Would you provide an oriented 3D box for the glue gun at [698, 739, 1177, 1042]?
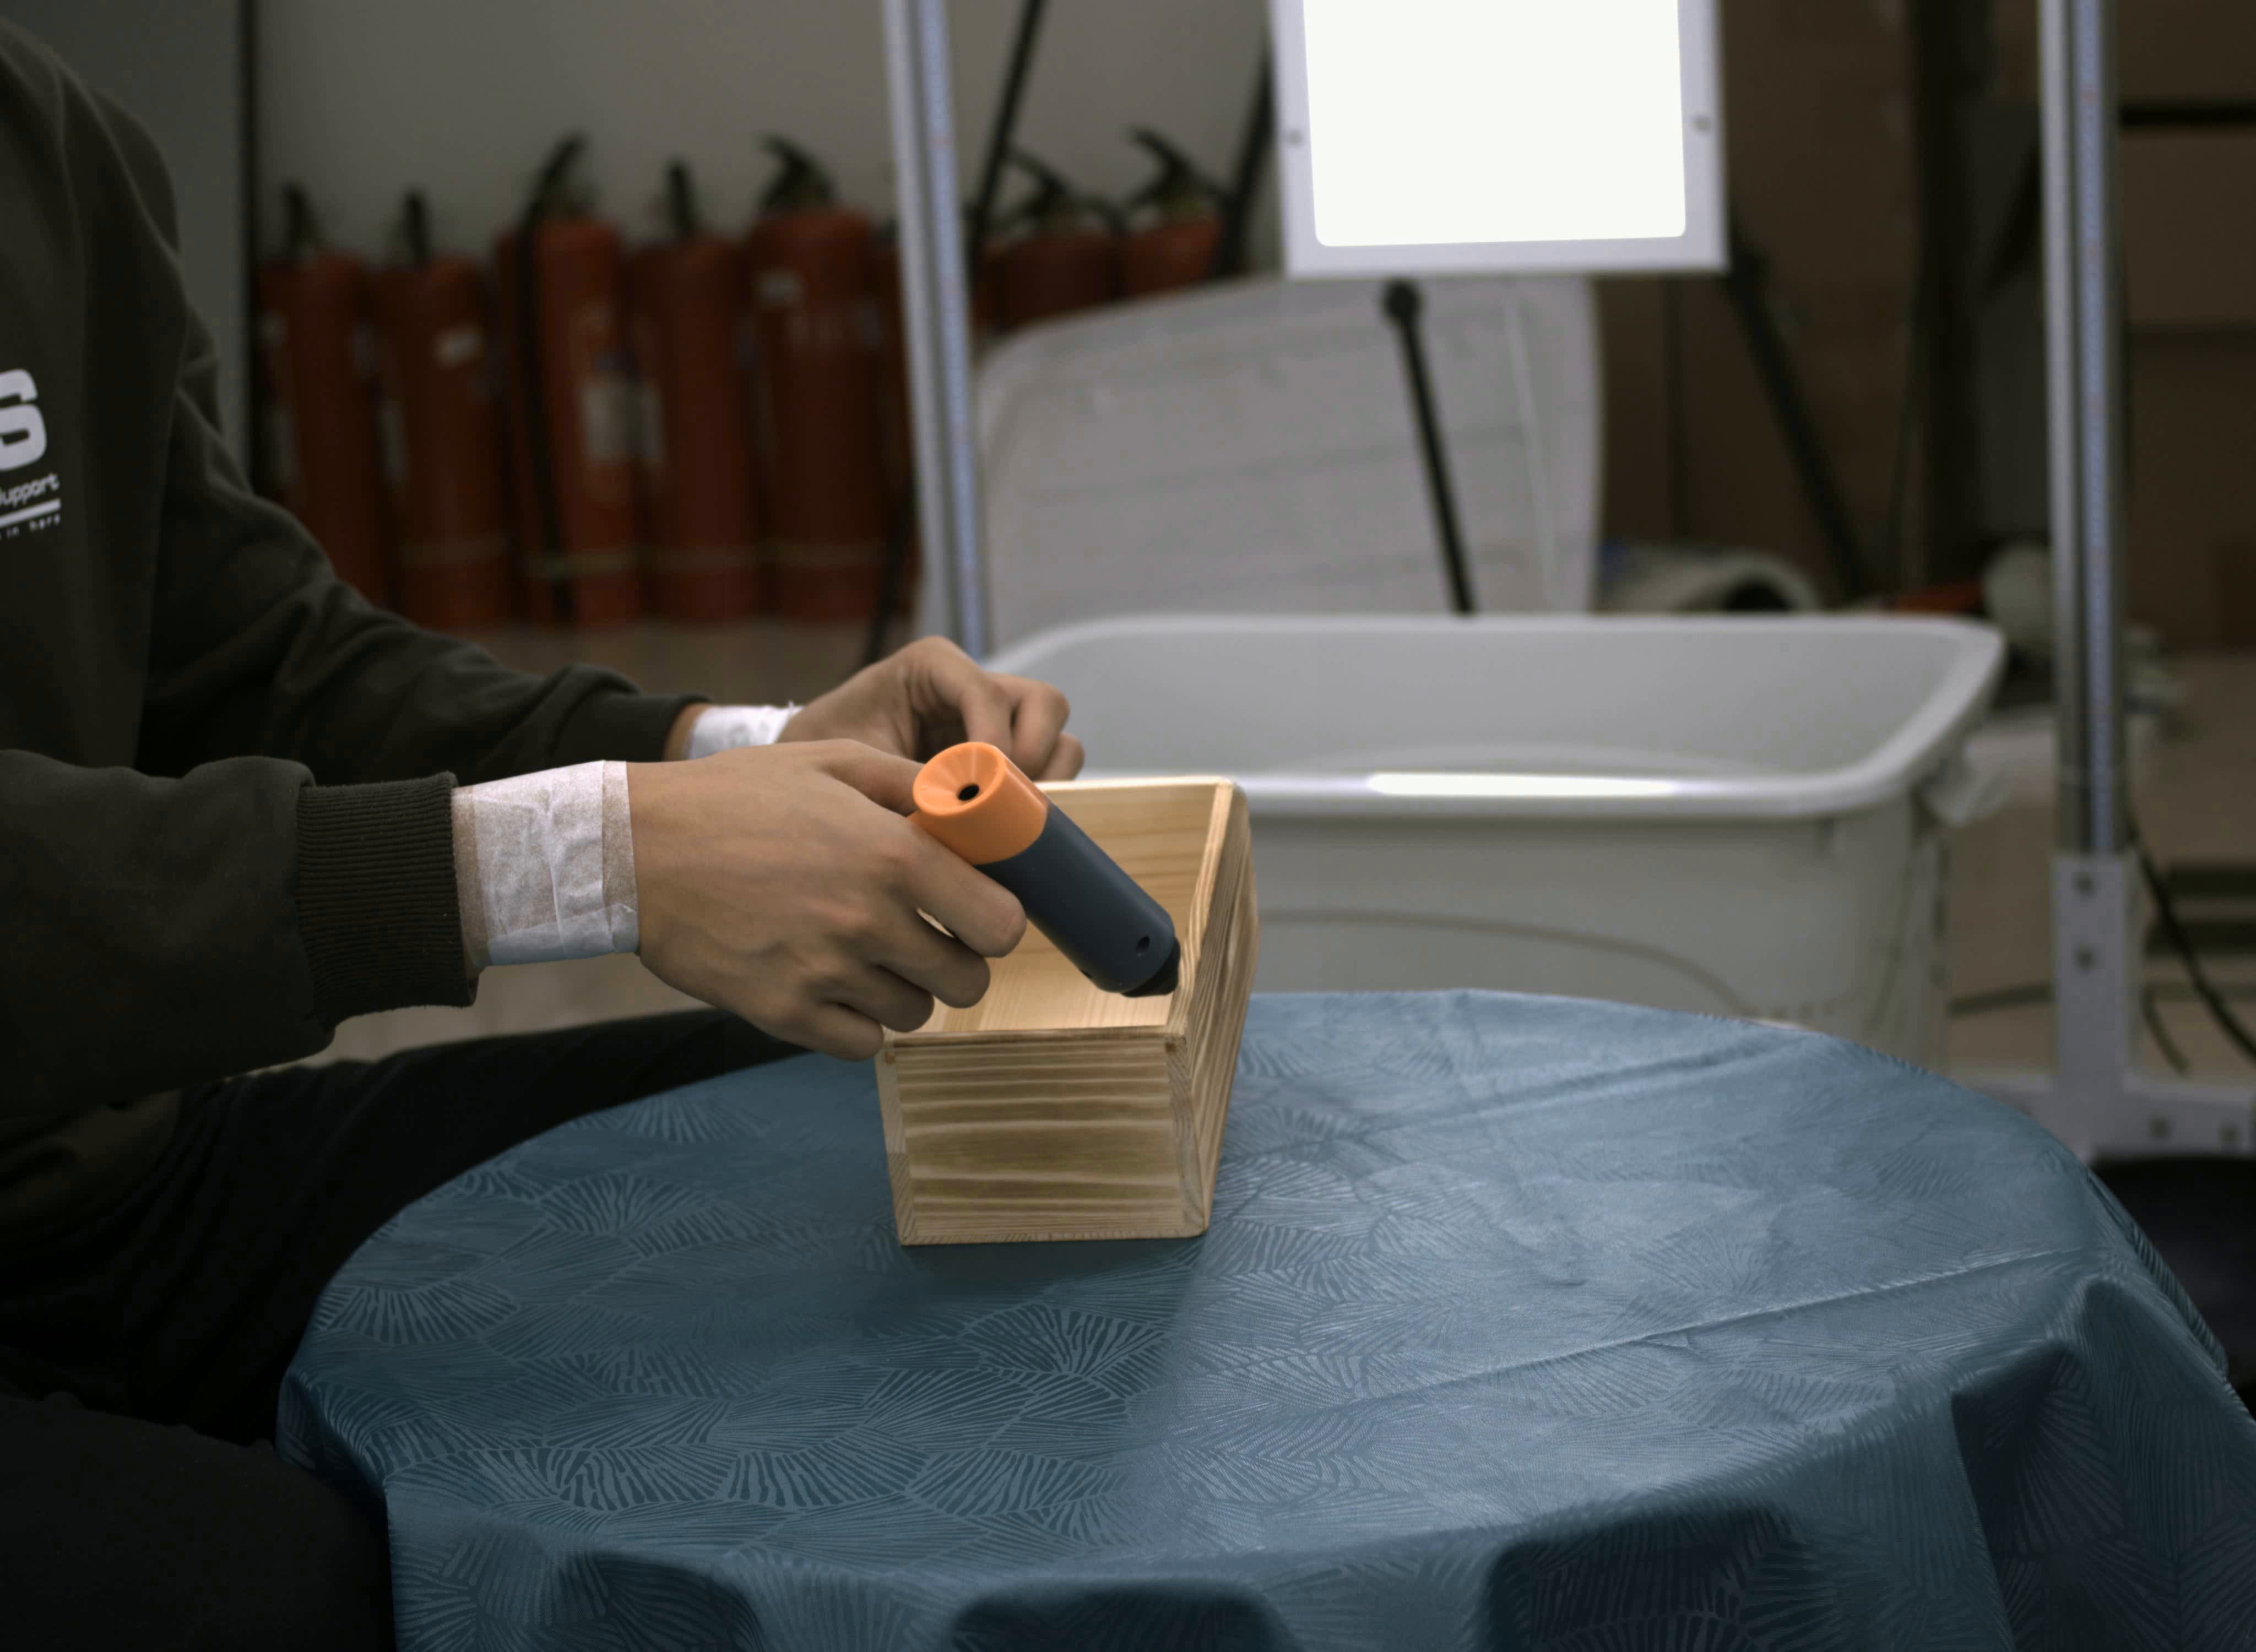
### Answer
[{"bbox_3d":[-0.062,0.030,1.822,0.141,0.117,0.041,-12,41,17],"label":"glue gun"}]

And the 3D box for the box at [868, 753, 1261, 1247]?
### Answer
[{"bbox_3d":[-0.019,0.058,1.929,0.108,0.080,0.209,-4,26,9],"label":"box"}]
